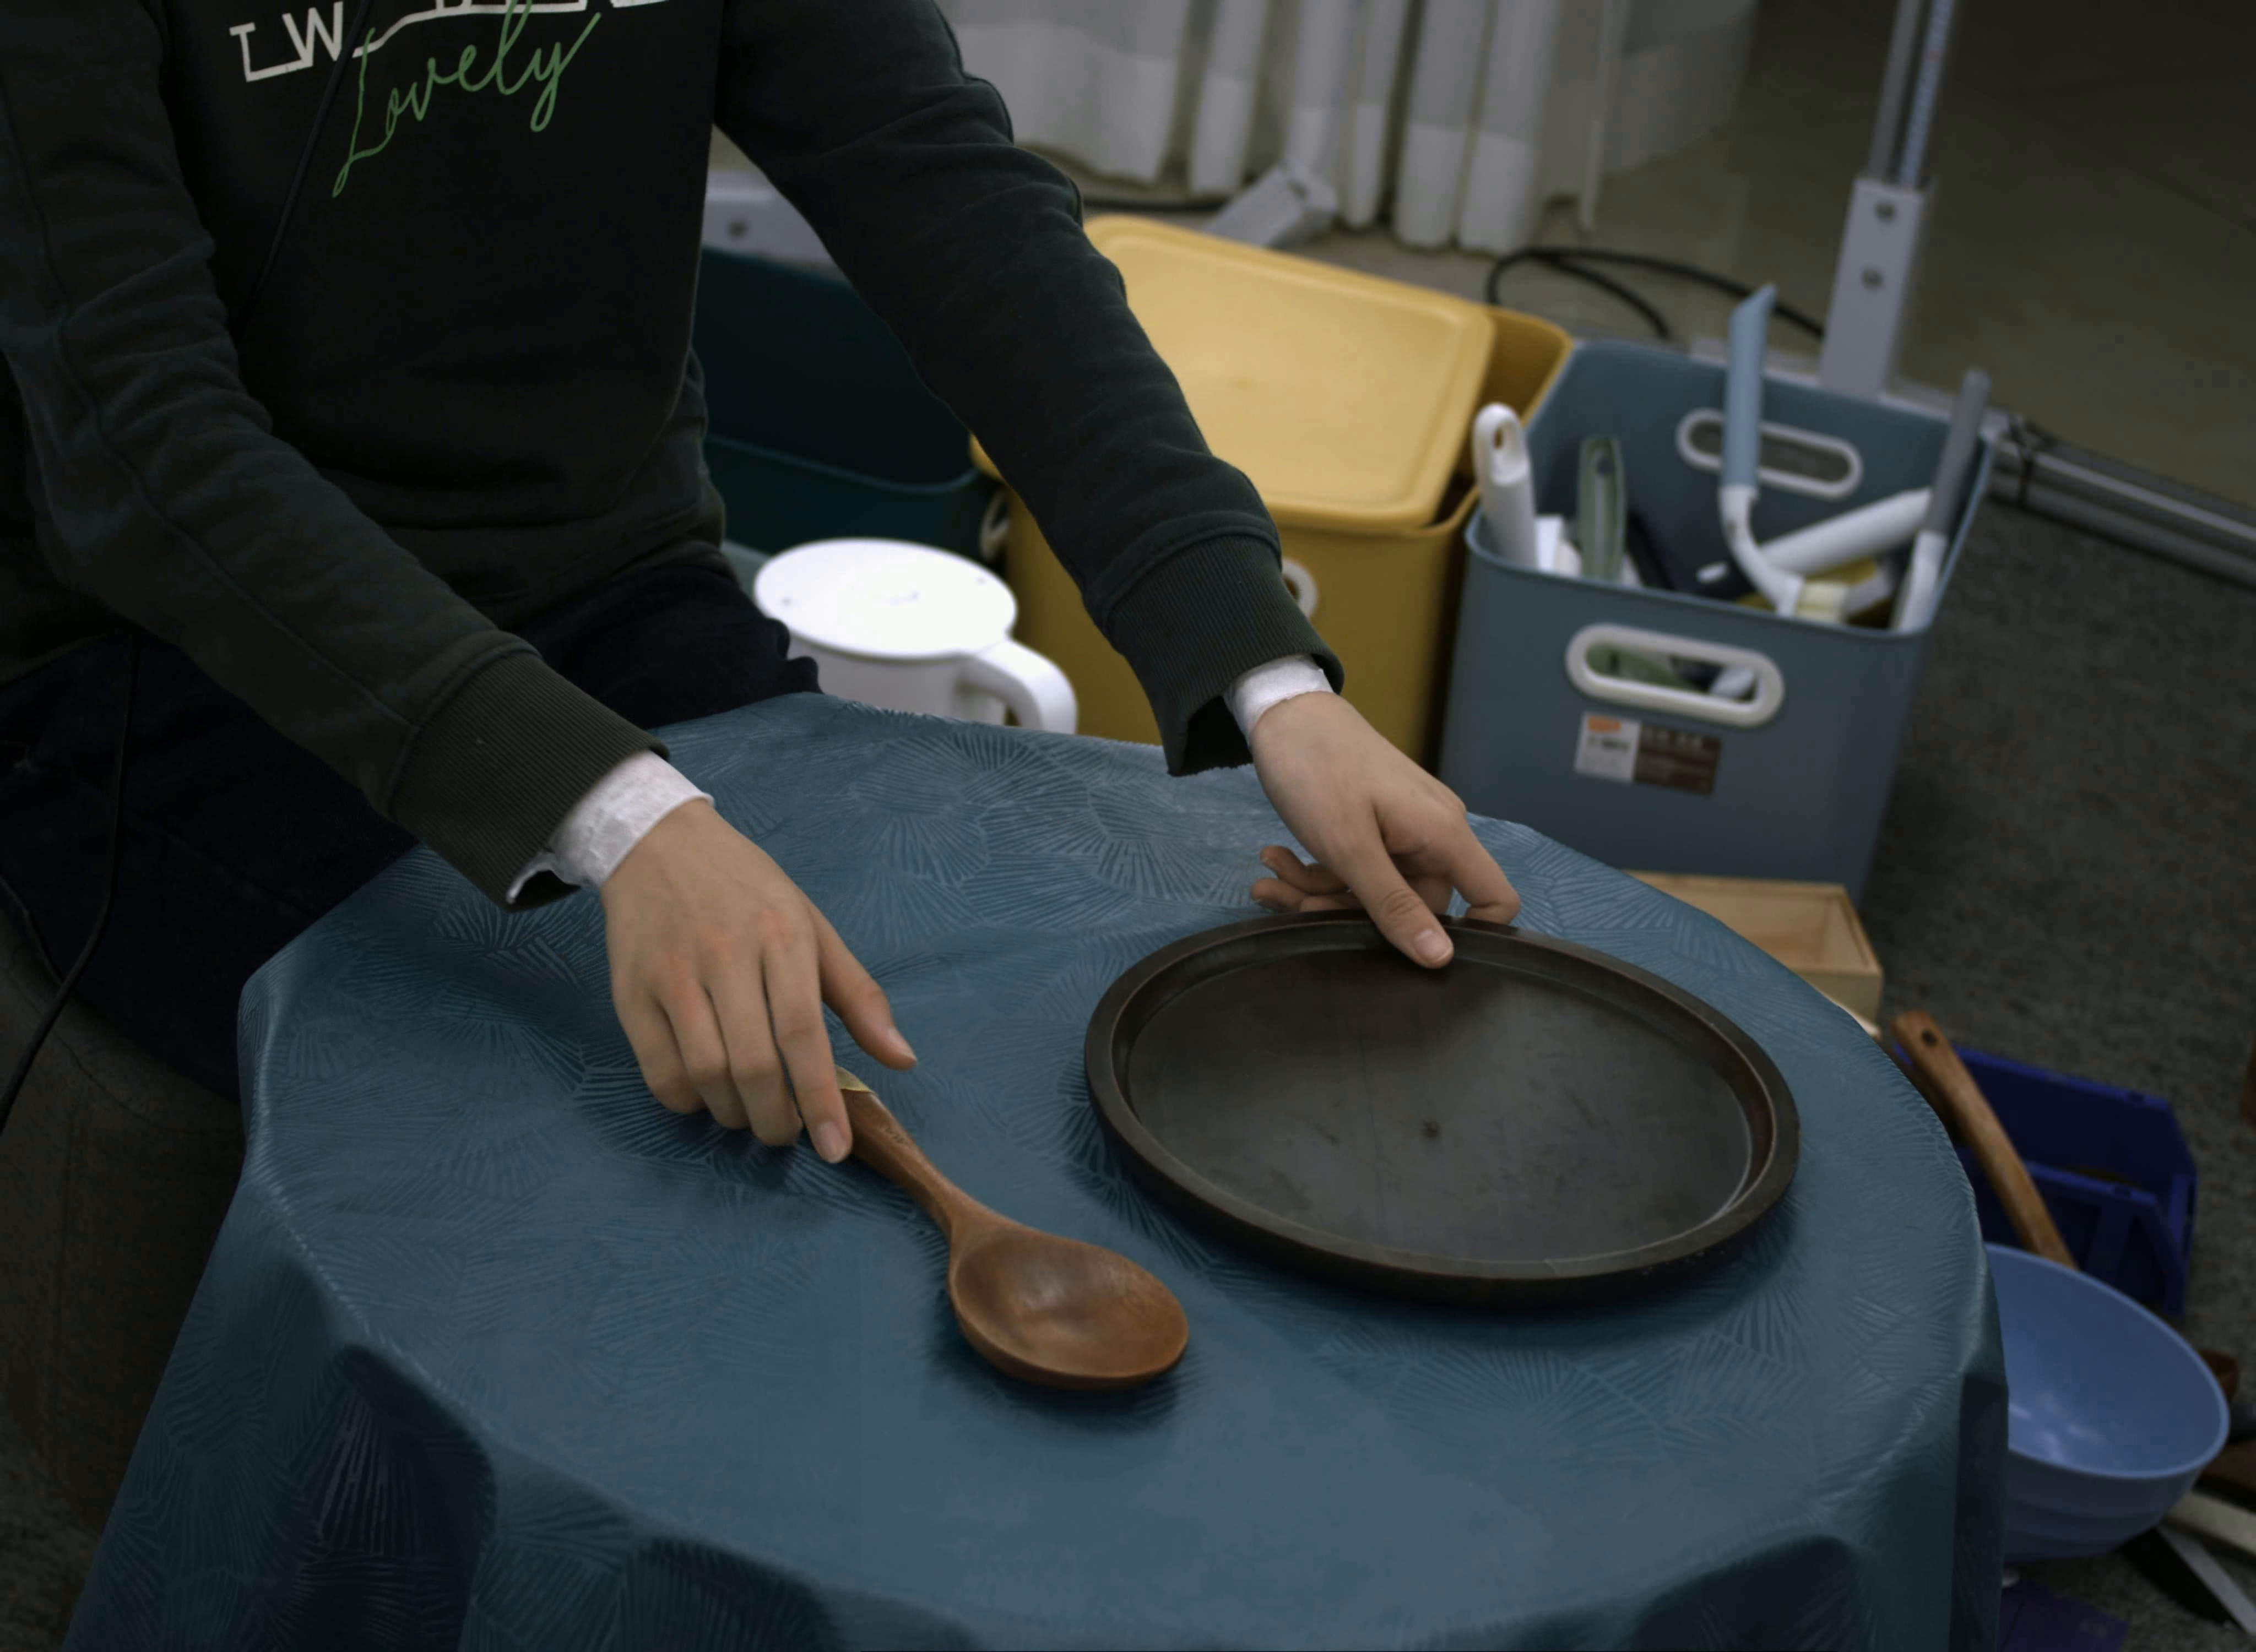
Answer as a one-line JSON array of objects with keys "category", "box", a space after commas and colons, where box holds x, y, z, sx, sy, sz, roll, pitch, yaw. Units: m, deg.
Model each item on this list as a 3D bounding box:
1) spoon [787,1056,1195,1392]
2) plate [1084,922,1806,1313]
[{"category": "spoon", "box": [-0.053, 0.131, 1.754, 0.075, 0.017, 0.218, -11, 32, -31]}, {"category": "plate", "box": [0.109, 0.099, 1.850, 0.254, 0.029, 0.256, 6, 27, -3]}]
